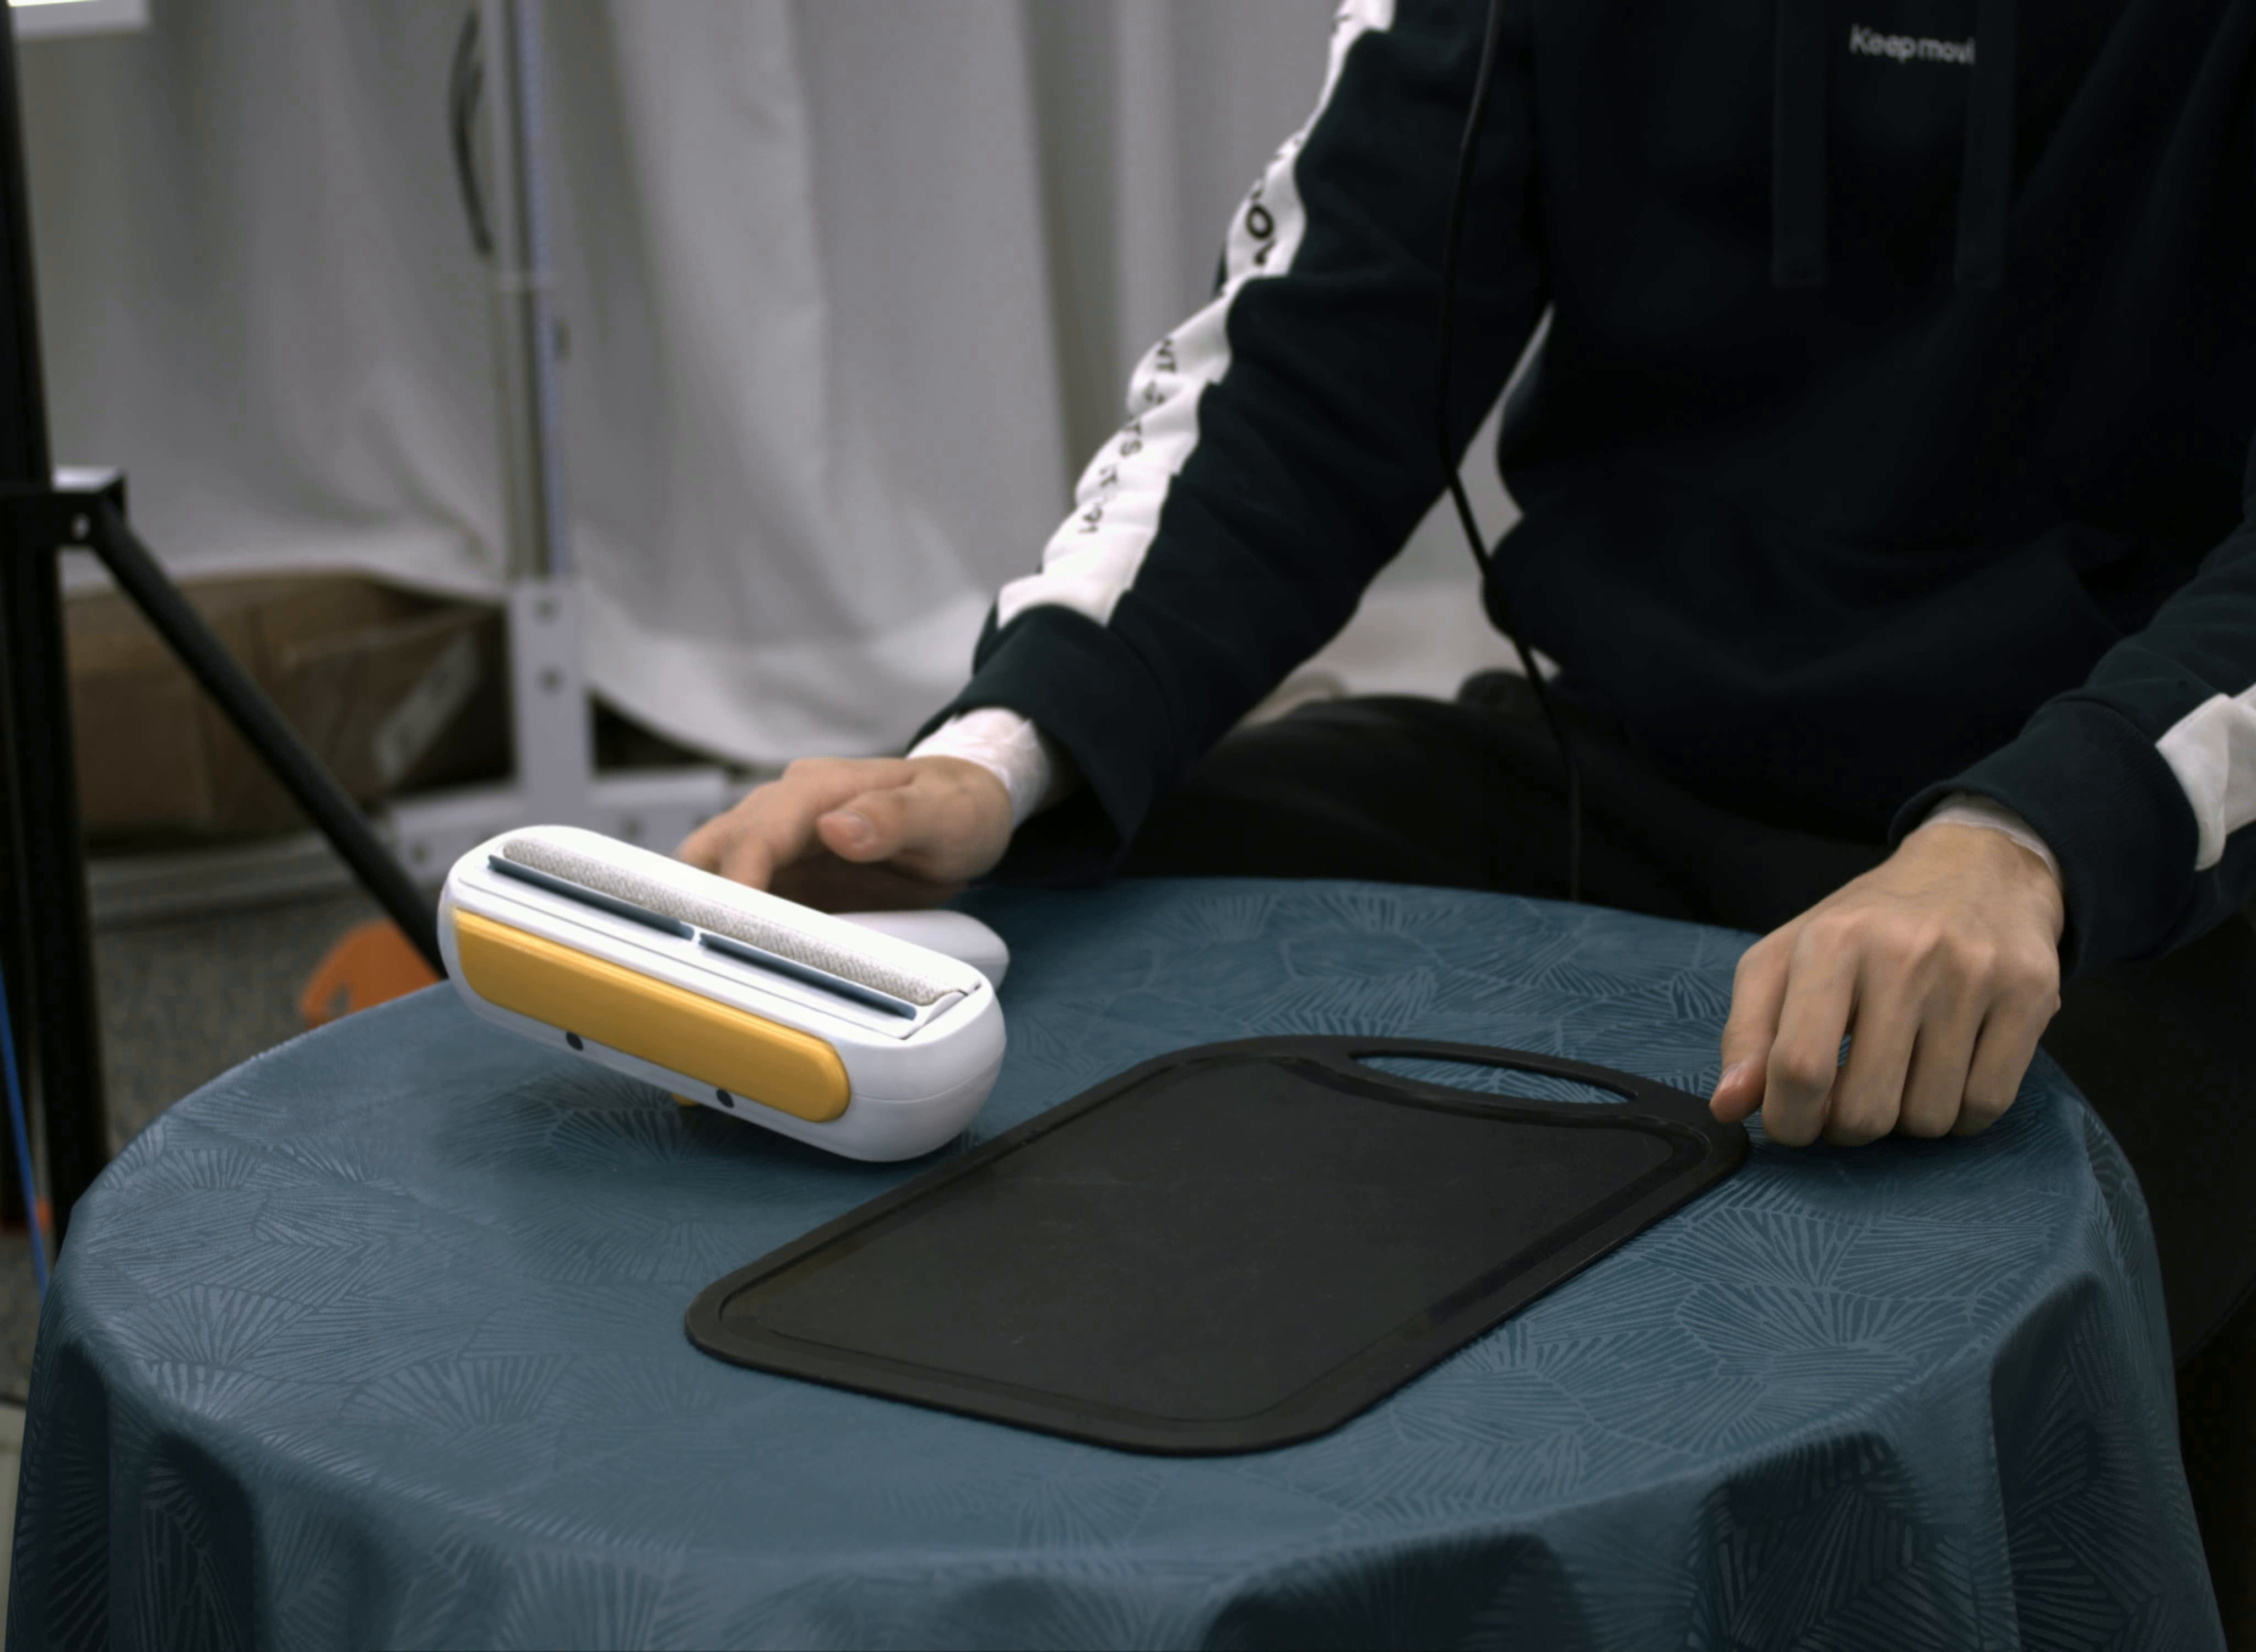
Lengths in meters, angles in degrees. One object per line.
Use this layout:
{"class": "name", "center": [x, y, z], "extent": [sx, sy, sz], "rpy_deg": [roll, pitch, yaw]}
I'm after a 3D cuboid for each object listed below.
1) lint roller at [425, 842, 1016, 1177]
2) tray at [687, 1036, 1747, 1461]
{"class": "lint roller", "center": [-0.101, 0.061, 1.684], "extent": [0.197, 0.074, 0.187], "rpy_deg": [17, 10, 36]}
{"class": "tray", "center": [0.035, 0.112, 1.528], "extent": [0.215, 0.010, 0.319], "rpy_deg": [9, 19, 34]}
